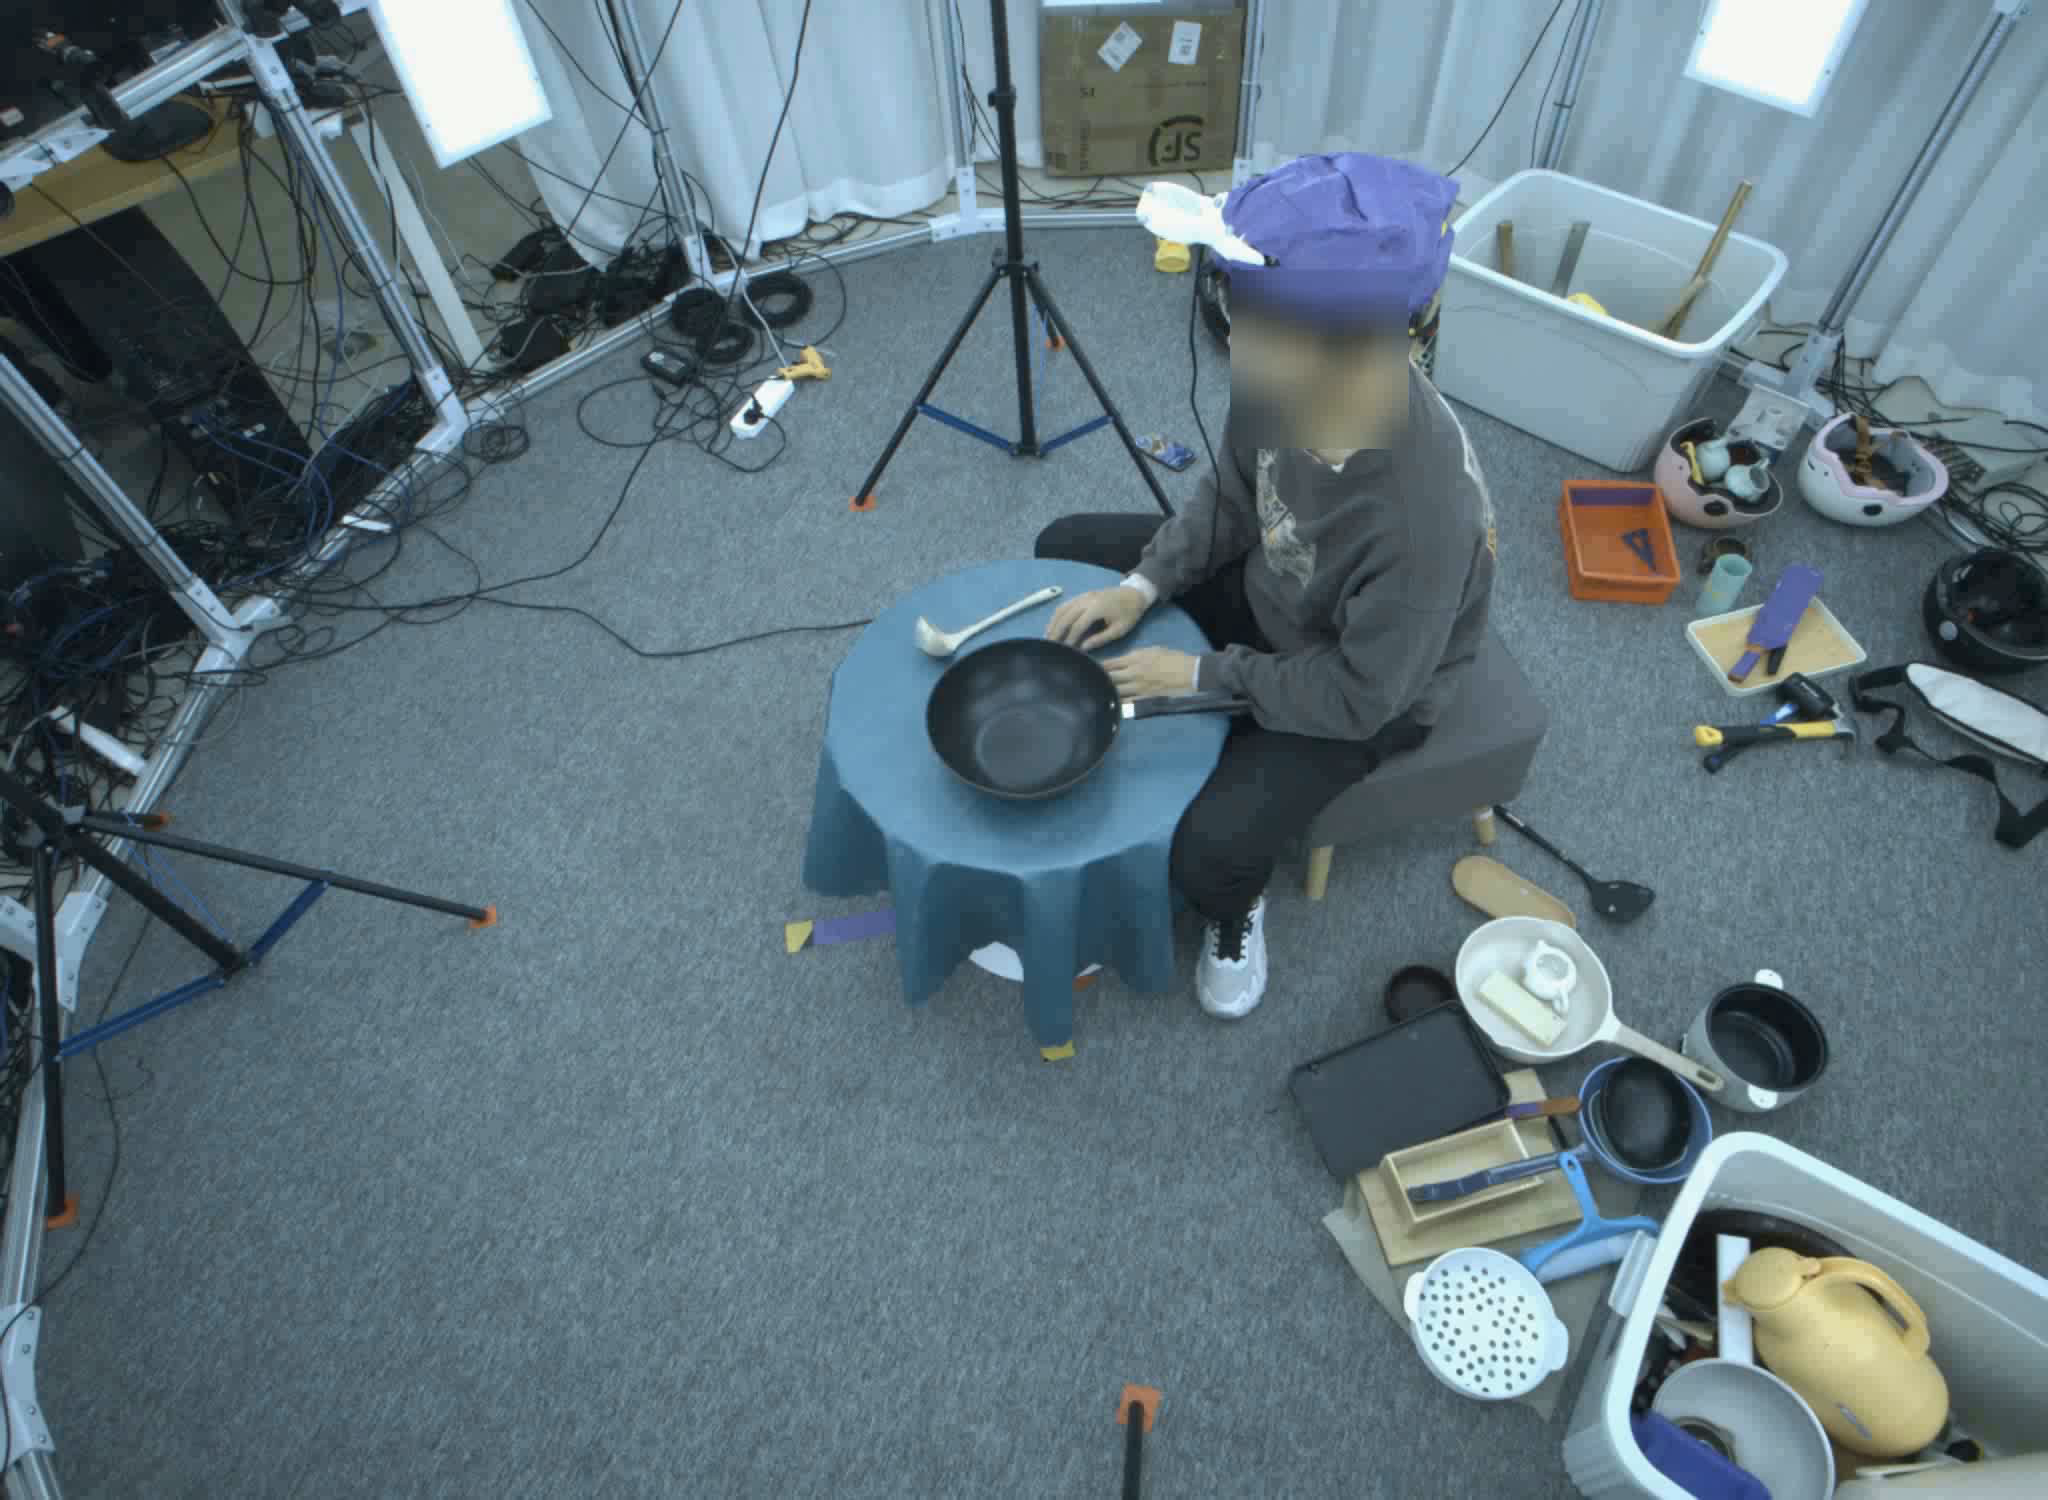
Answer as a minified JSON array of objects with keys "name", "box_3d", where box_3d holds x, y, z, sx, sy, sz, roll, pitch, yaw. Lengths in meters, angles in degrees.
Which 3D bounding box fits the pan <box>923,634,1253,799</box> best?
[{"name":"pan","box_3d":[0.091,-0.038,1.758,0.464,0.088,0.285,-2,54,-1]}]

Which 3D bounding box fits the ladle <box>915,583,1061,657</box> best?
[{"name":"ladle","box_3d":[-0.052,-0.225,1.903,0.256,0.074,0.070,-31,55,-17]}]
